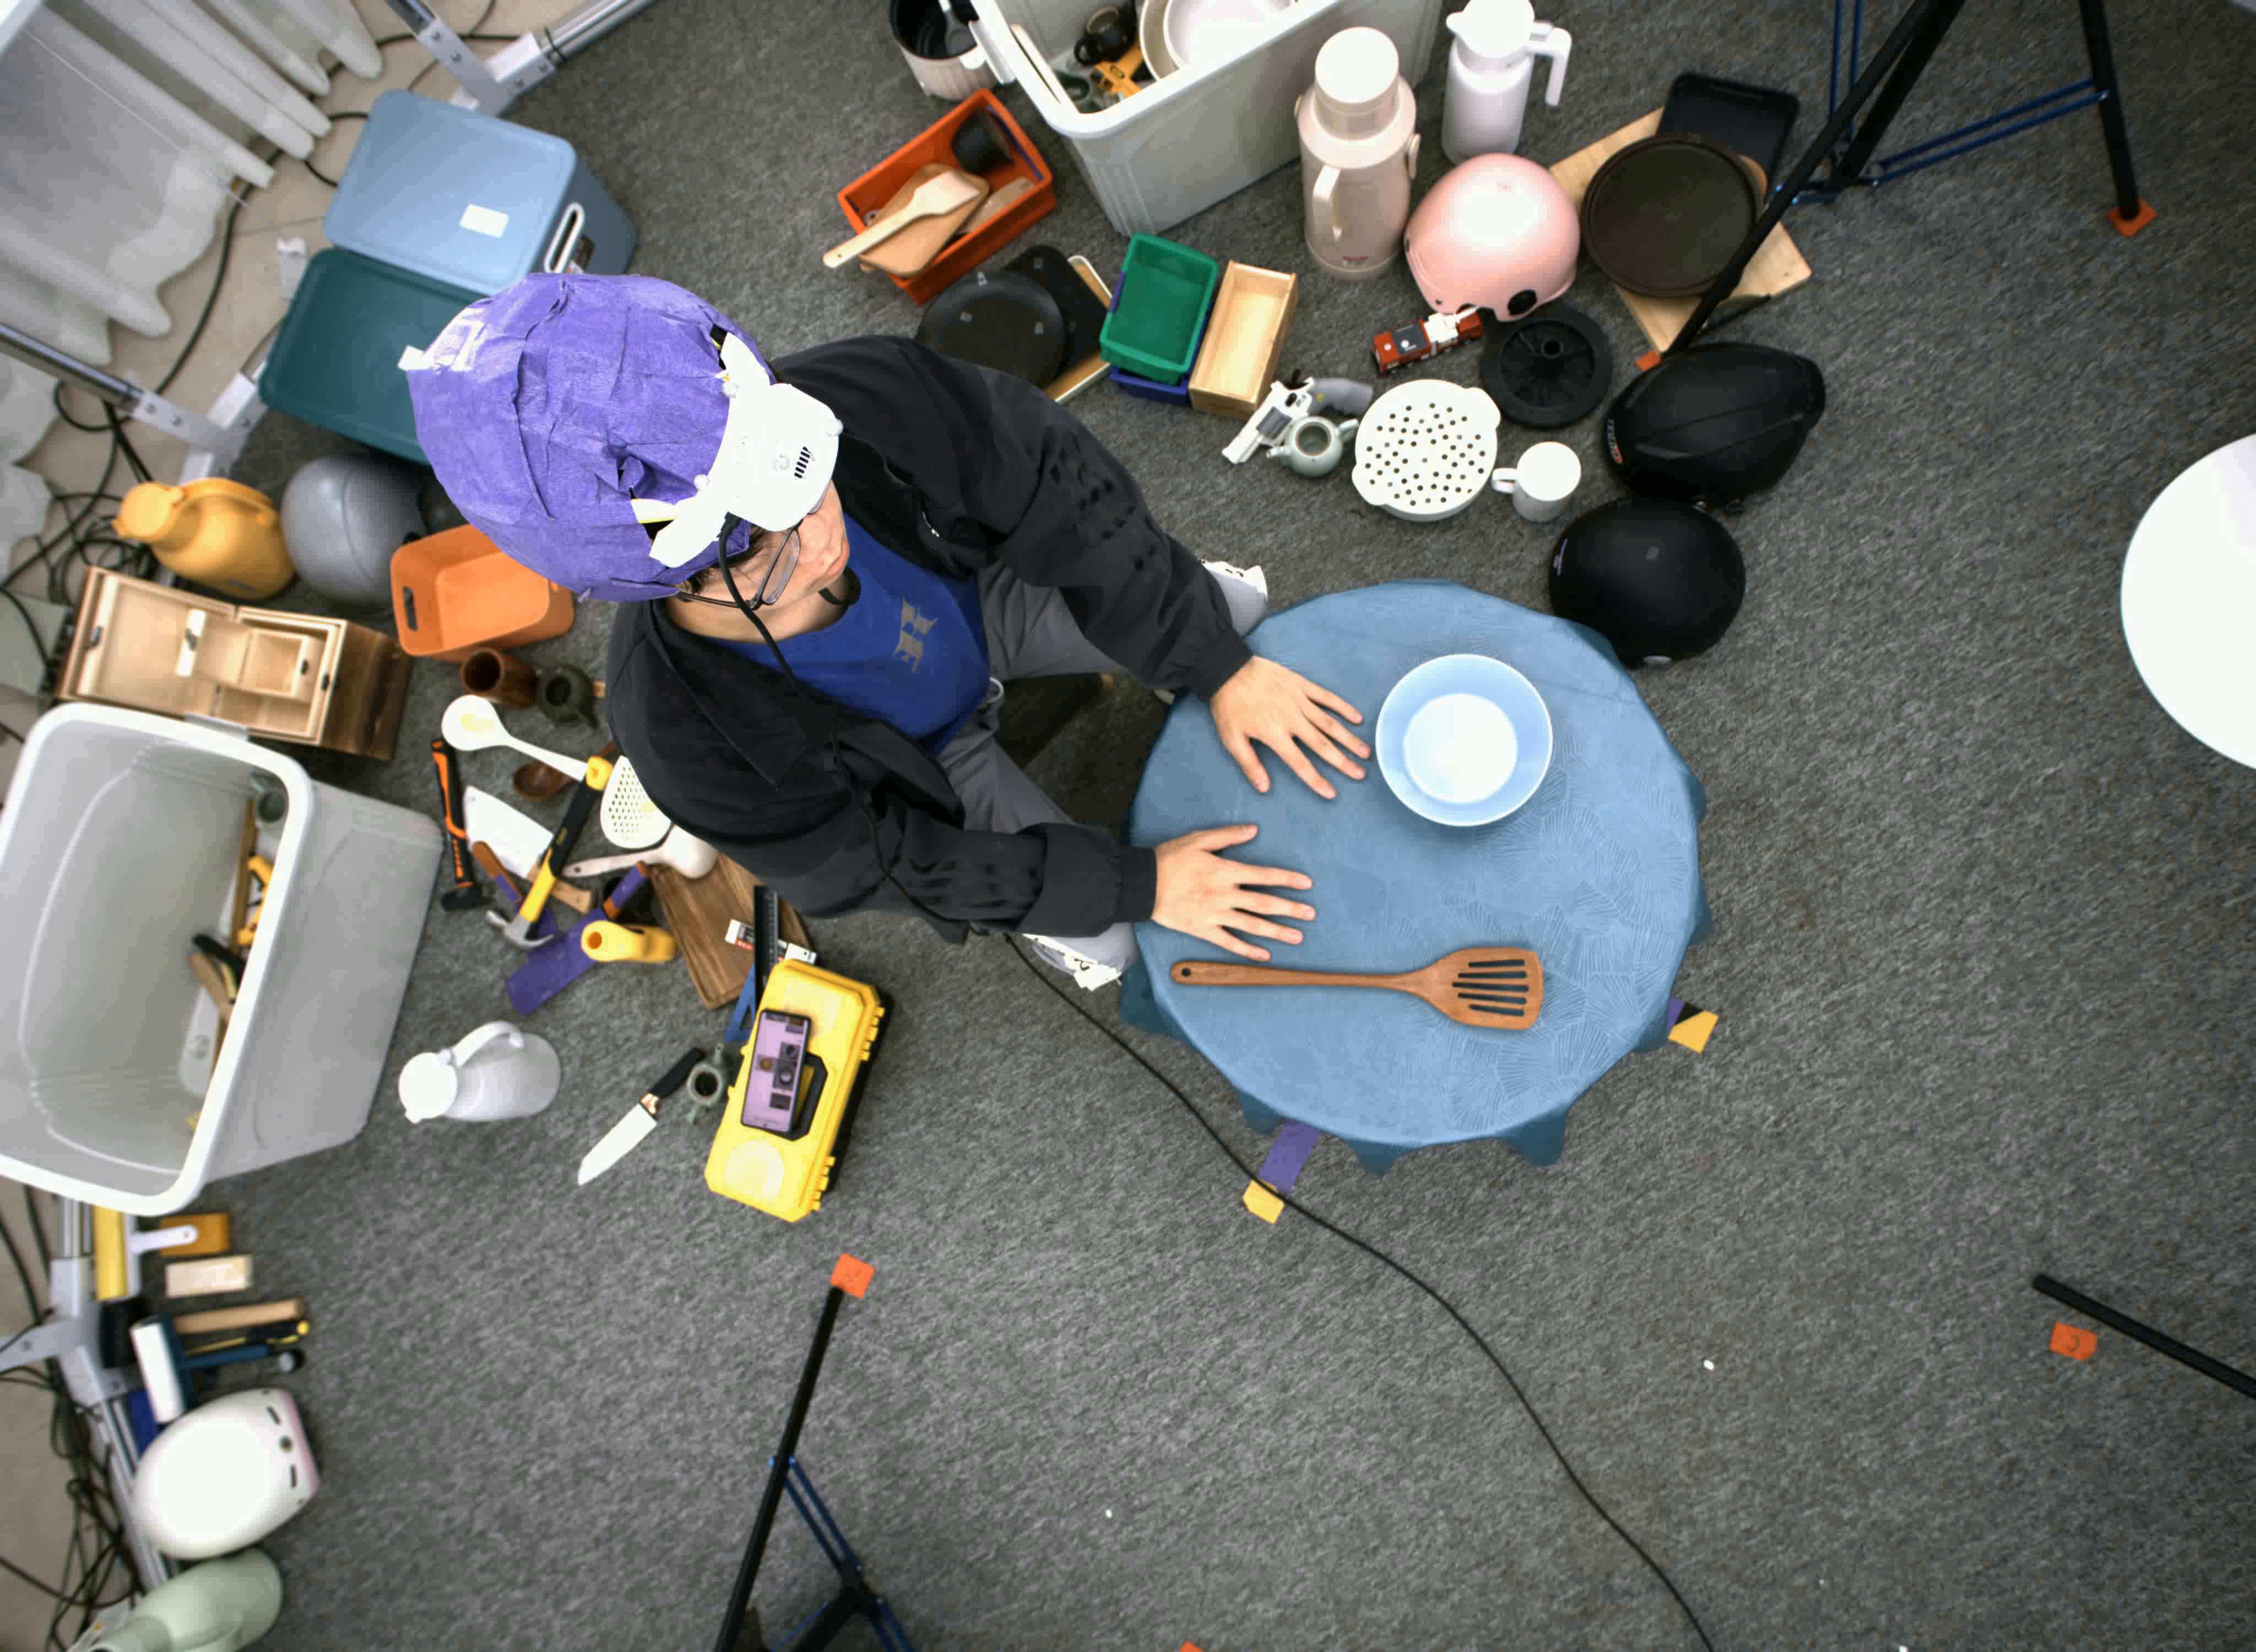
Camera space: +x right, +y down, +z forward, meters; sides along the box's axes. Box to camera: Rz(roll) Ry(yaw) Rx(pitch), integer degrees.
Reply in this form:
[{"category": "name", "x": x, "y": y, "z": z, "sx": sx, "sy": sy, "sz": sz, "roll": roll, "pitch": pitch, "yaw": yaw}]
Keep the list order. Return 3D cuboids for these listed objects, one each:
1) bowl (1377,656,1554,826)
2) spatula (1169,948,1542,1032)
[{"category": "bowl", "x": 0.346, "y": -0.085, "z": 1.416, "sx": 0.177, "sy": 0.070, "sz": 0.175, "roll": -1, "pitch": 86, "yaw": 12}, {"category": "spatula", "x": 0.234, "y": 0.160, "z": 1.450, "sx": 0.388, "sy": 0.024, "sz": 0.085, "roll": 2, "pitch": 87, "yaw": 12}]
